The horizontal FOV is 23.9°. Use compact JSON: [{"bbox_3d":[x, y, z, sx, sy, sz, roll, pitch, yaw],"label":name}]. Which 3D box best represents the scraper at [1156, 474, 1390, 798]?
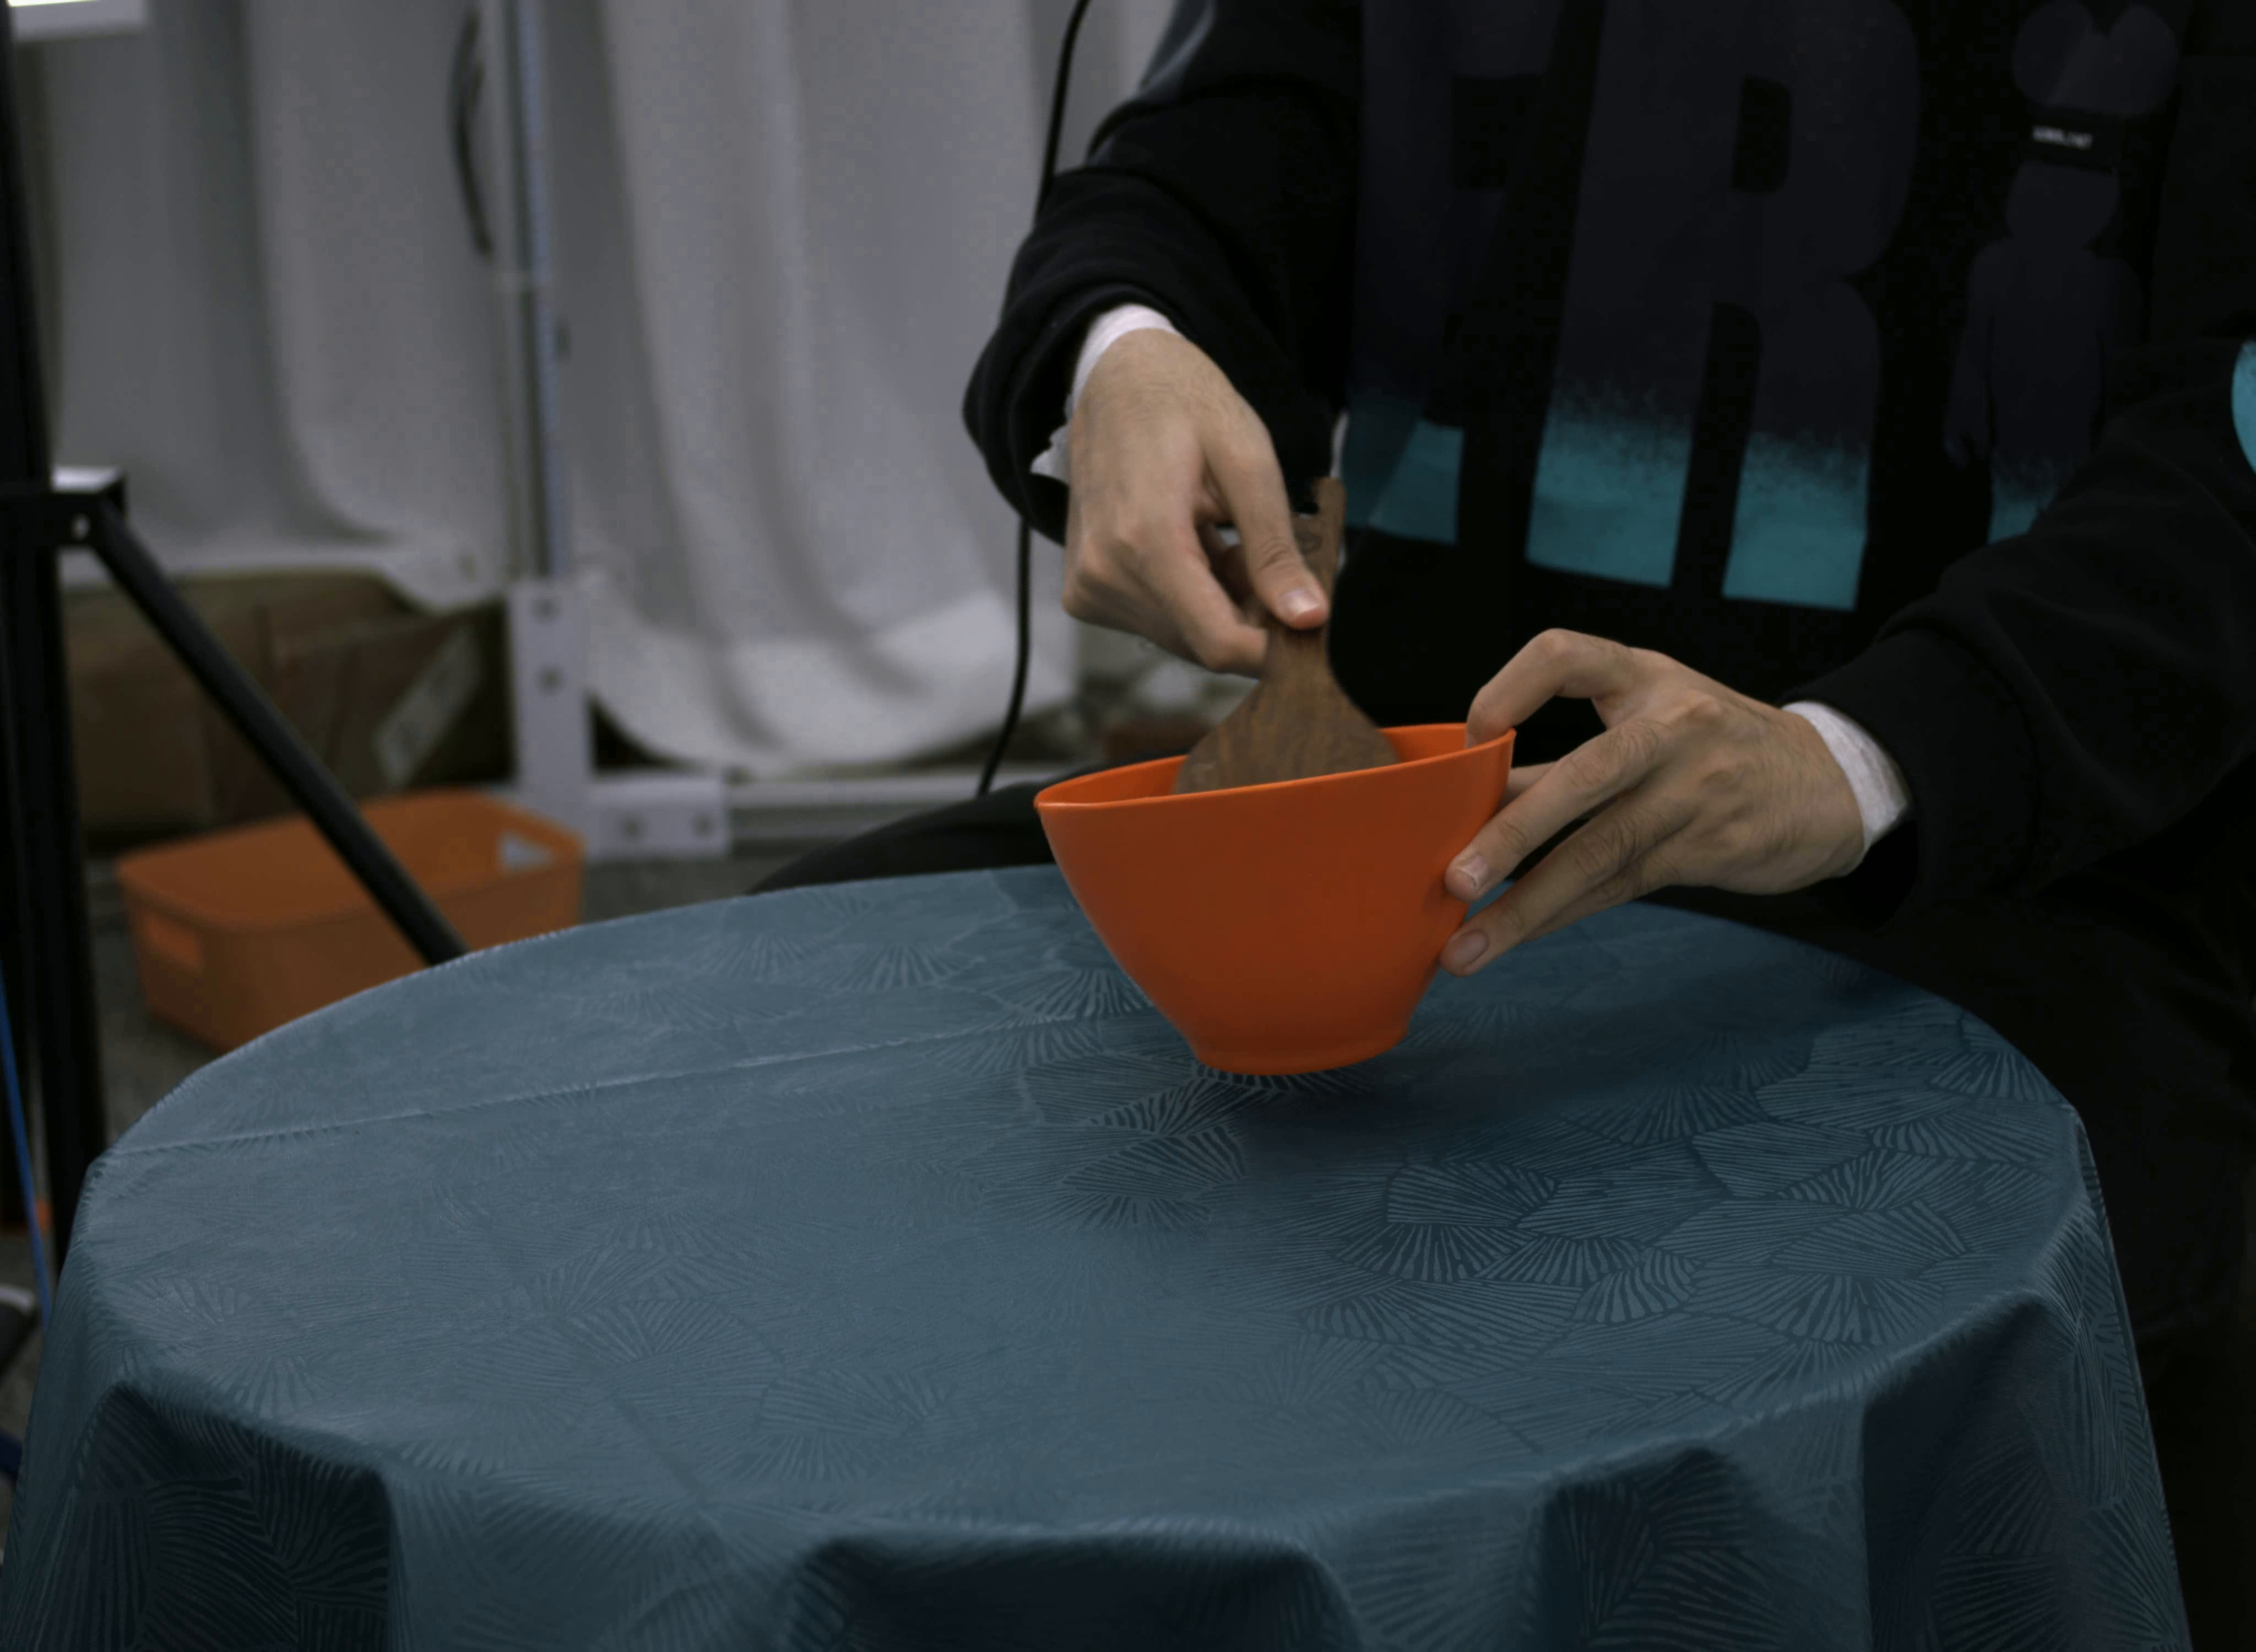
[{"bbox_3d":[0.052,-0.054,1.698,0.076,0.011,0.212,0,36,6],"label":"scraper"}]

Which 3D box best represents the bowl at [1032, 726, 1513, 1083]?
[{"bbox_3d":[0.049,0.022,1.613,0.147,0.104,0.149,-8,14,1],"label":"bowl"}]
